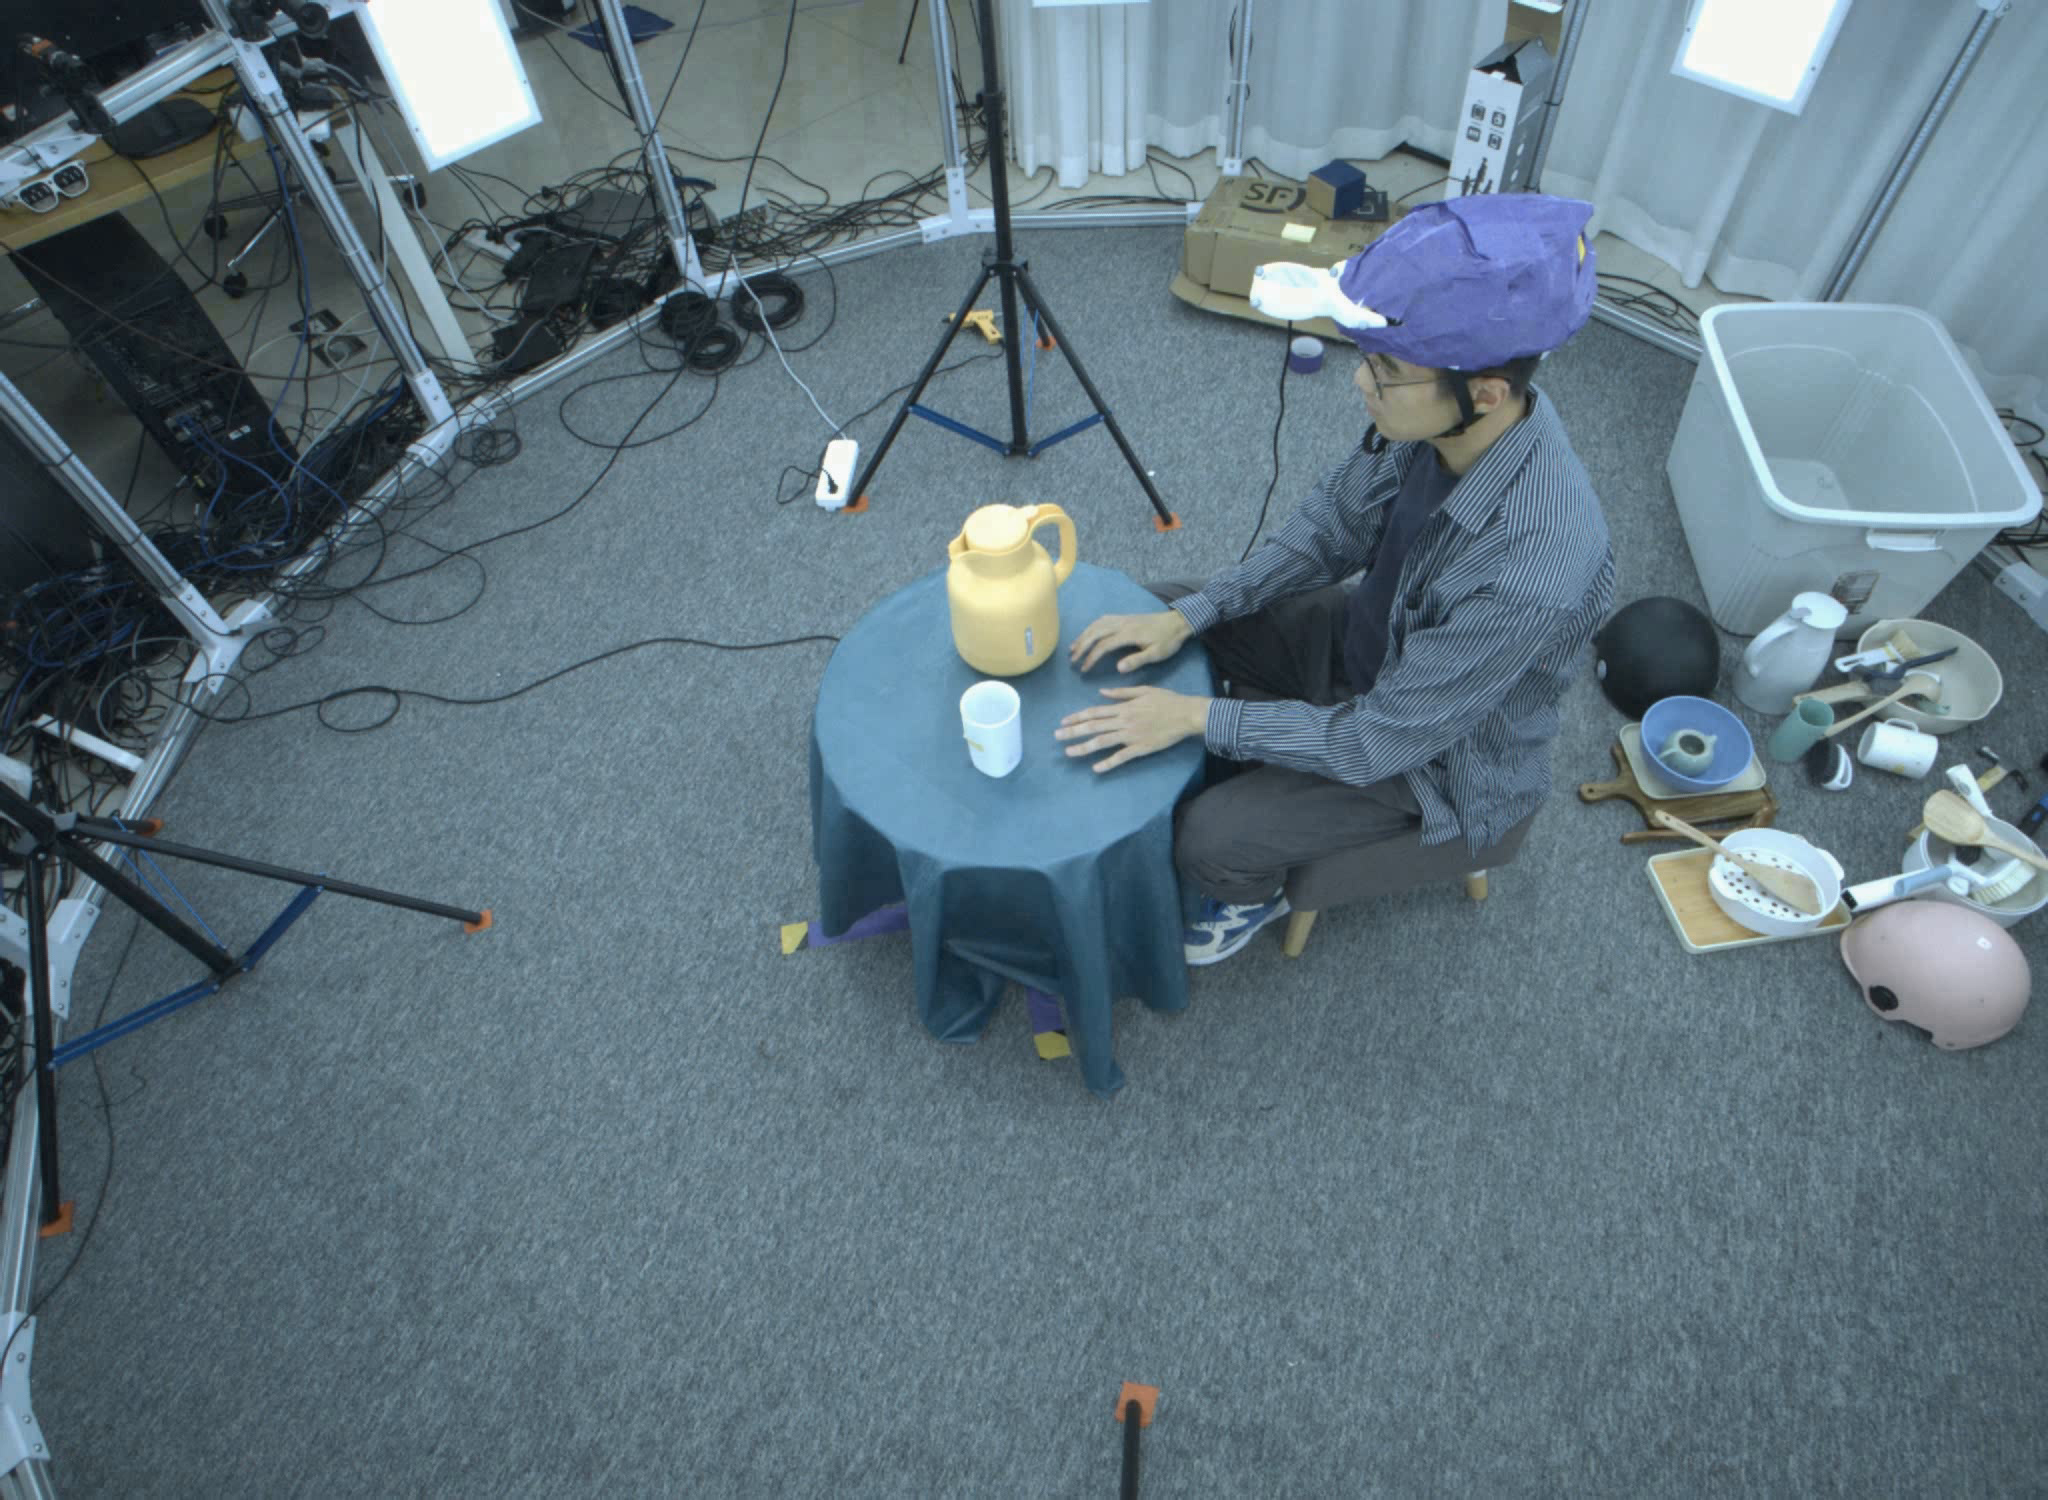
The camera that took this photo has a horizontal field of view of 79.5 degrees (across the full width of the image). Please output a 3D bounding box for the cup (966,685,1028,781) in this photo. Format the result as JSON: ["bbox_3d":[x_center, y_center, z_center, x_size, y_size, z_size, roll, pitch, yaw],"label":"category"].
[{"bbox_3d":[-0.035,-0.020,1.727,0.081,0.127,0.081,-1,54,3],"label":"cup"}]

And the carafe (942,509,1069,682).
[{"bbox_3d":[-0.022,-0.237,1.801,0.204,0.263,0.160,-29,59,-17],"label":"carafe"}]
